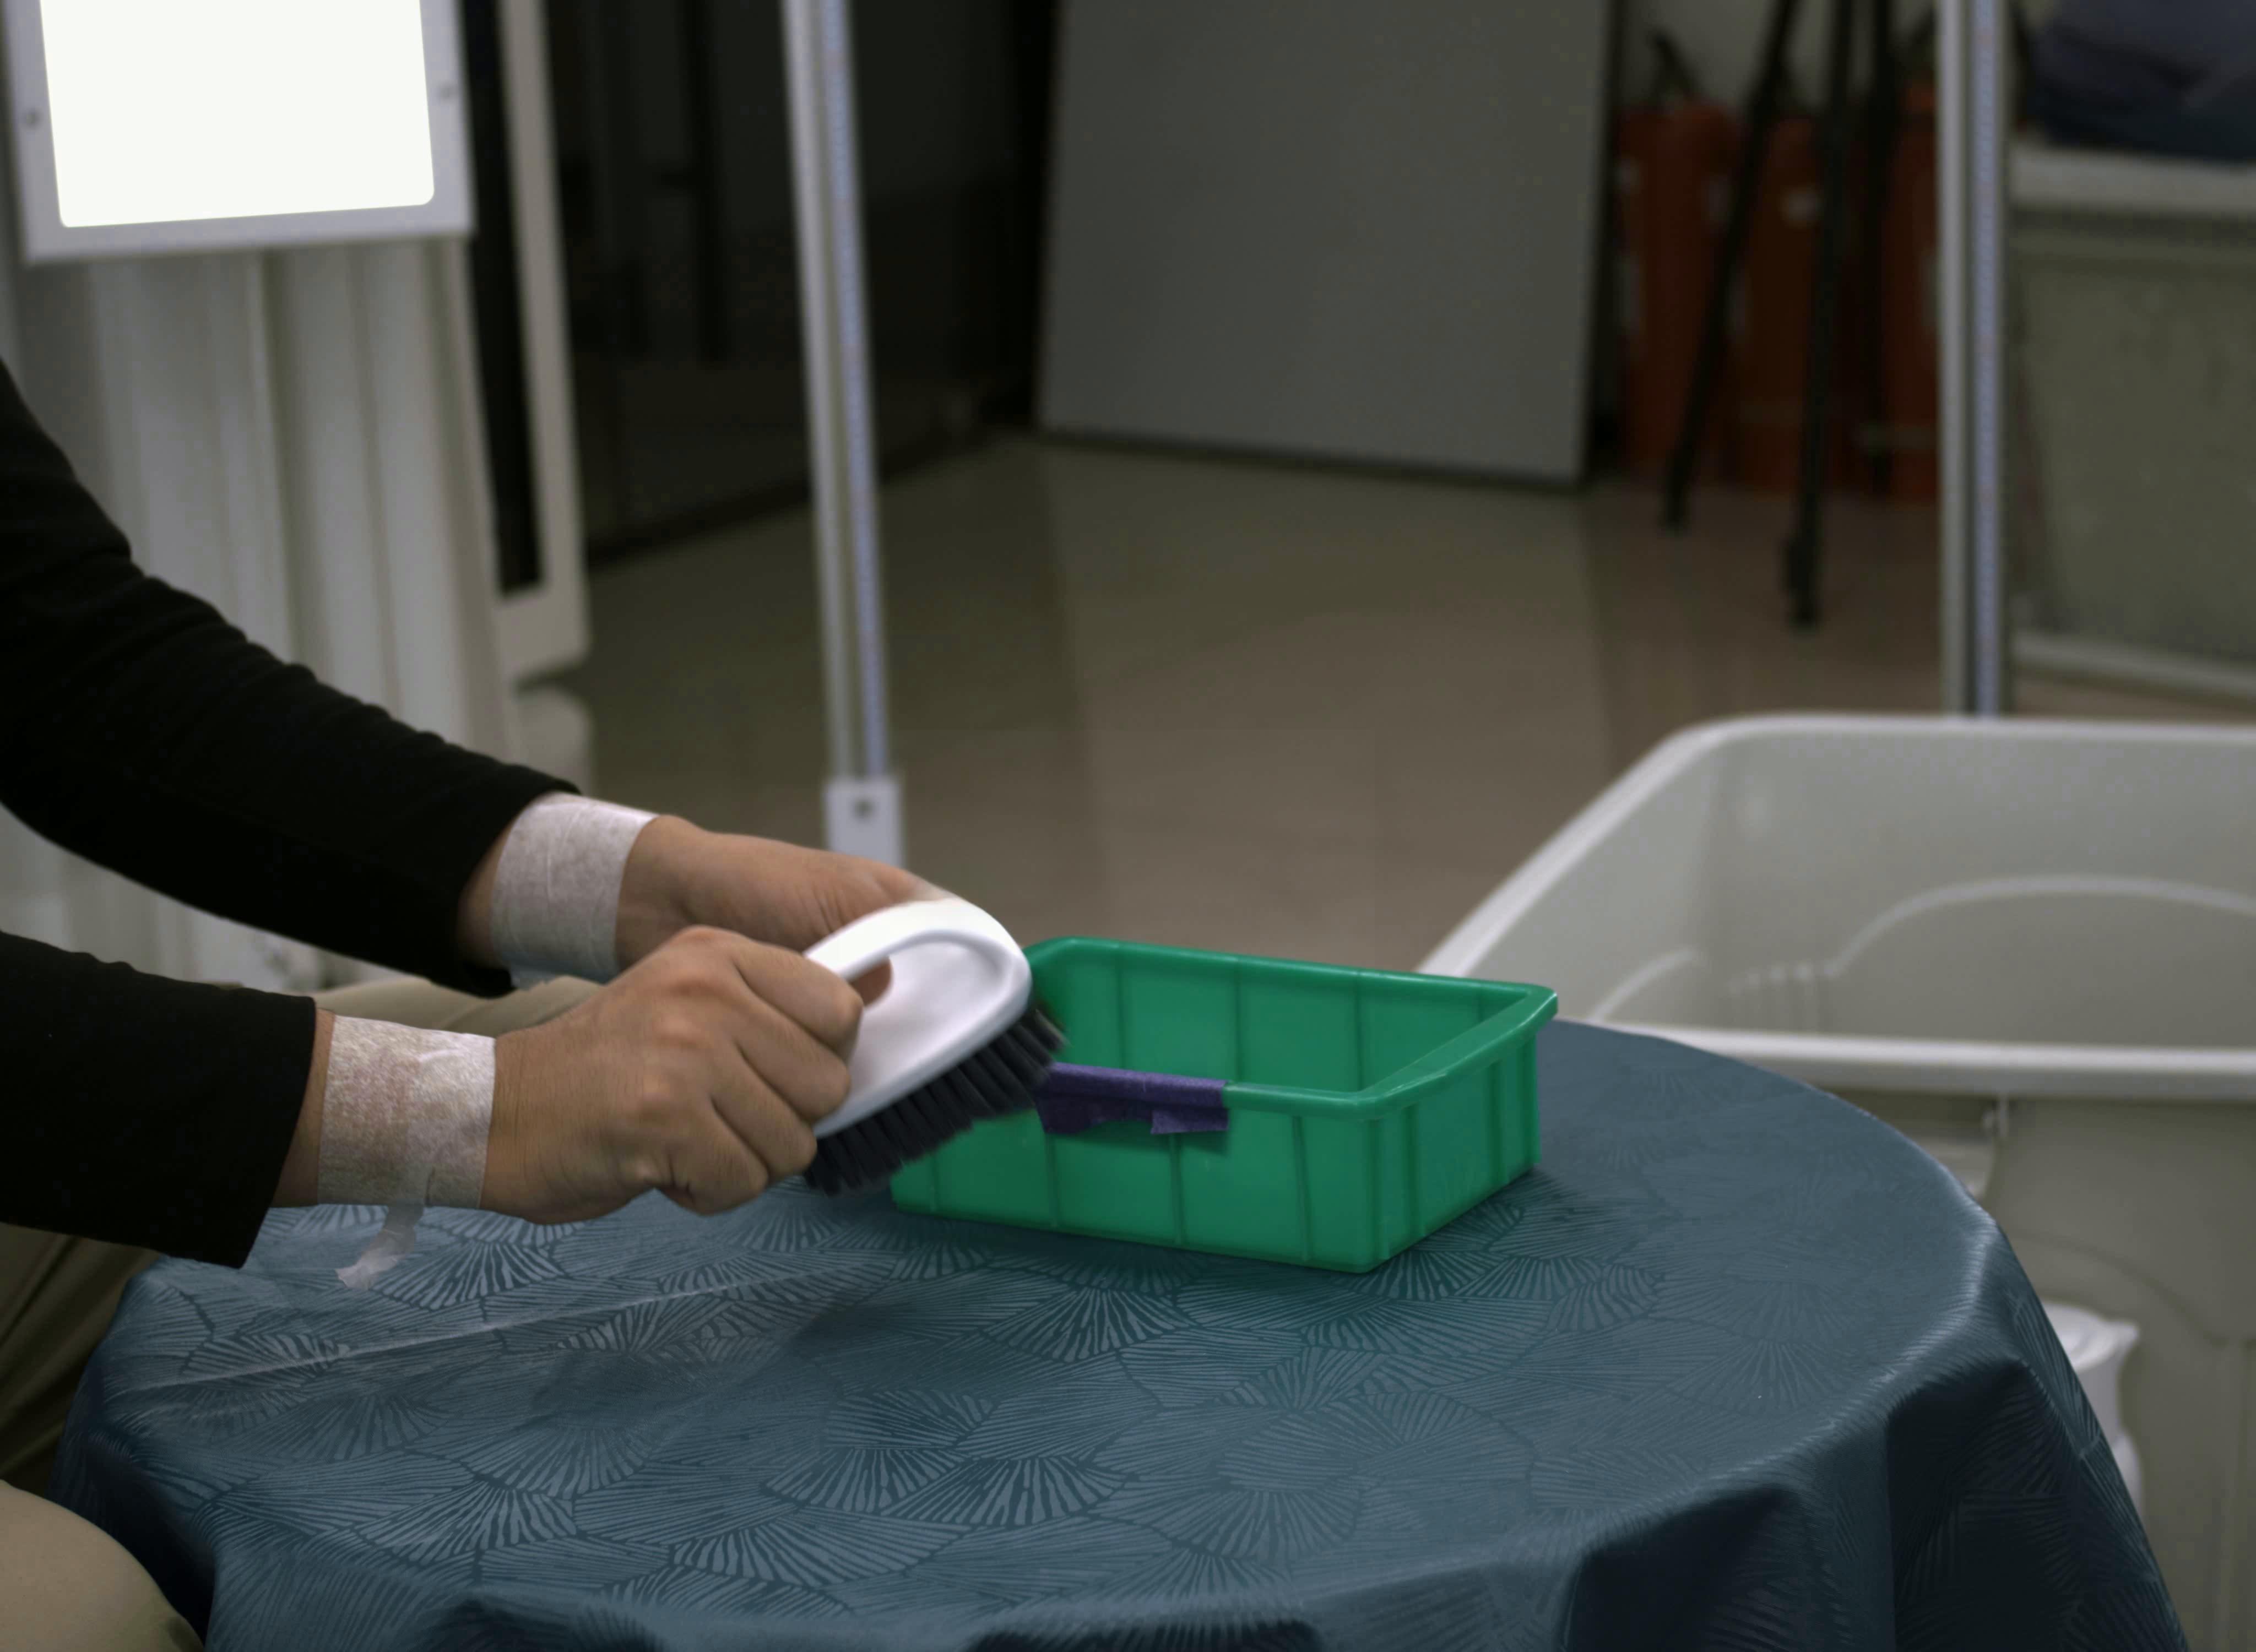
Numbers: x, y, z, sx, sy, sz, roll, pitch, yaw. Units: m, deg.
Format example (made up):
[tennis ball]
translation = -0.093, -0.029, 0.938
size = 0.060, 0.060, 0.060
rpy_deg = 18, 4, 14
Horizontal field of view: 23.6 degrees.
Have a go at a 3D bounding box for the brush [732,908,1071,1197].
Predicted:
[brush]
translation = -0.075, 0.062, 1.646
size = 0.098, 0.072, 0.051
rpy_deg = -28, 43, 5

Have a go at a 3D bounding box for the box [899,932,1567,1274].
[box]
translation = 0.031, 0.089, 1.758
size = 0.211, 0.066, 0.136
rpy_deg = 5, 18, 30
